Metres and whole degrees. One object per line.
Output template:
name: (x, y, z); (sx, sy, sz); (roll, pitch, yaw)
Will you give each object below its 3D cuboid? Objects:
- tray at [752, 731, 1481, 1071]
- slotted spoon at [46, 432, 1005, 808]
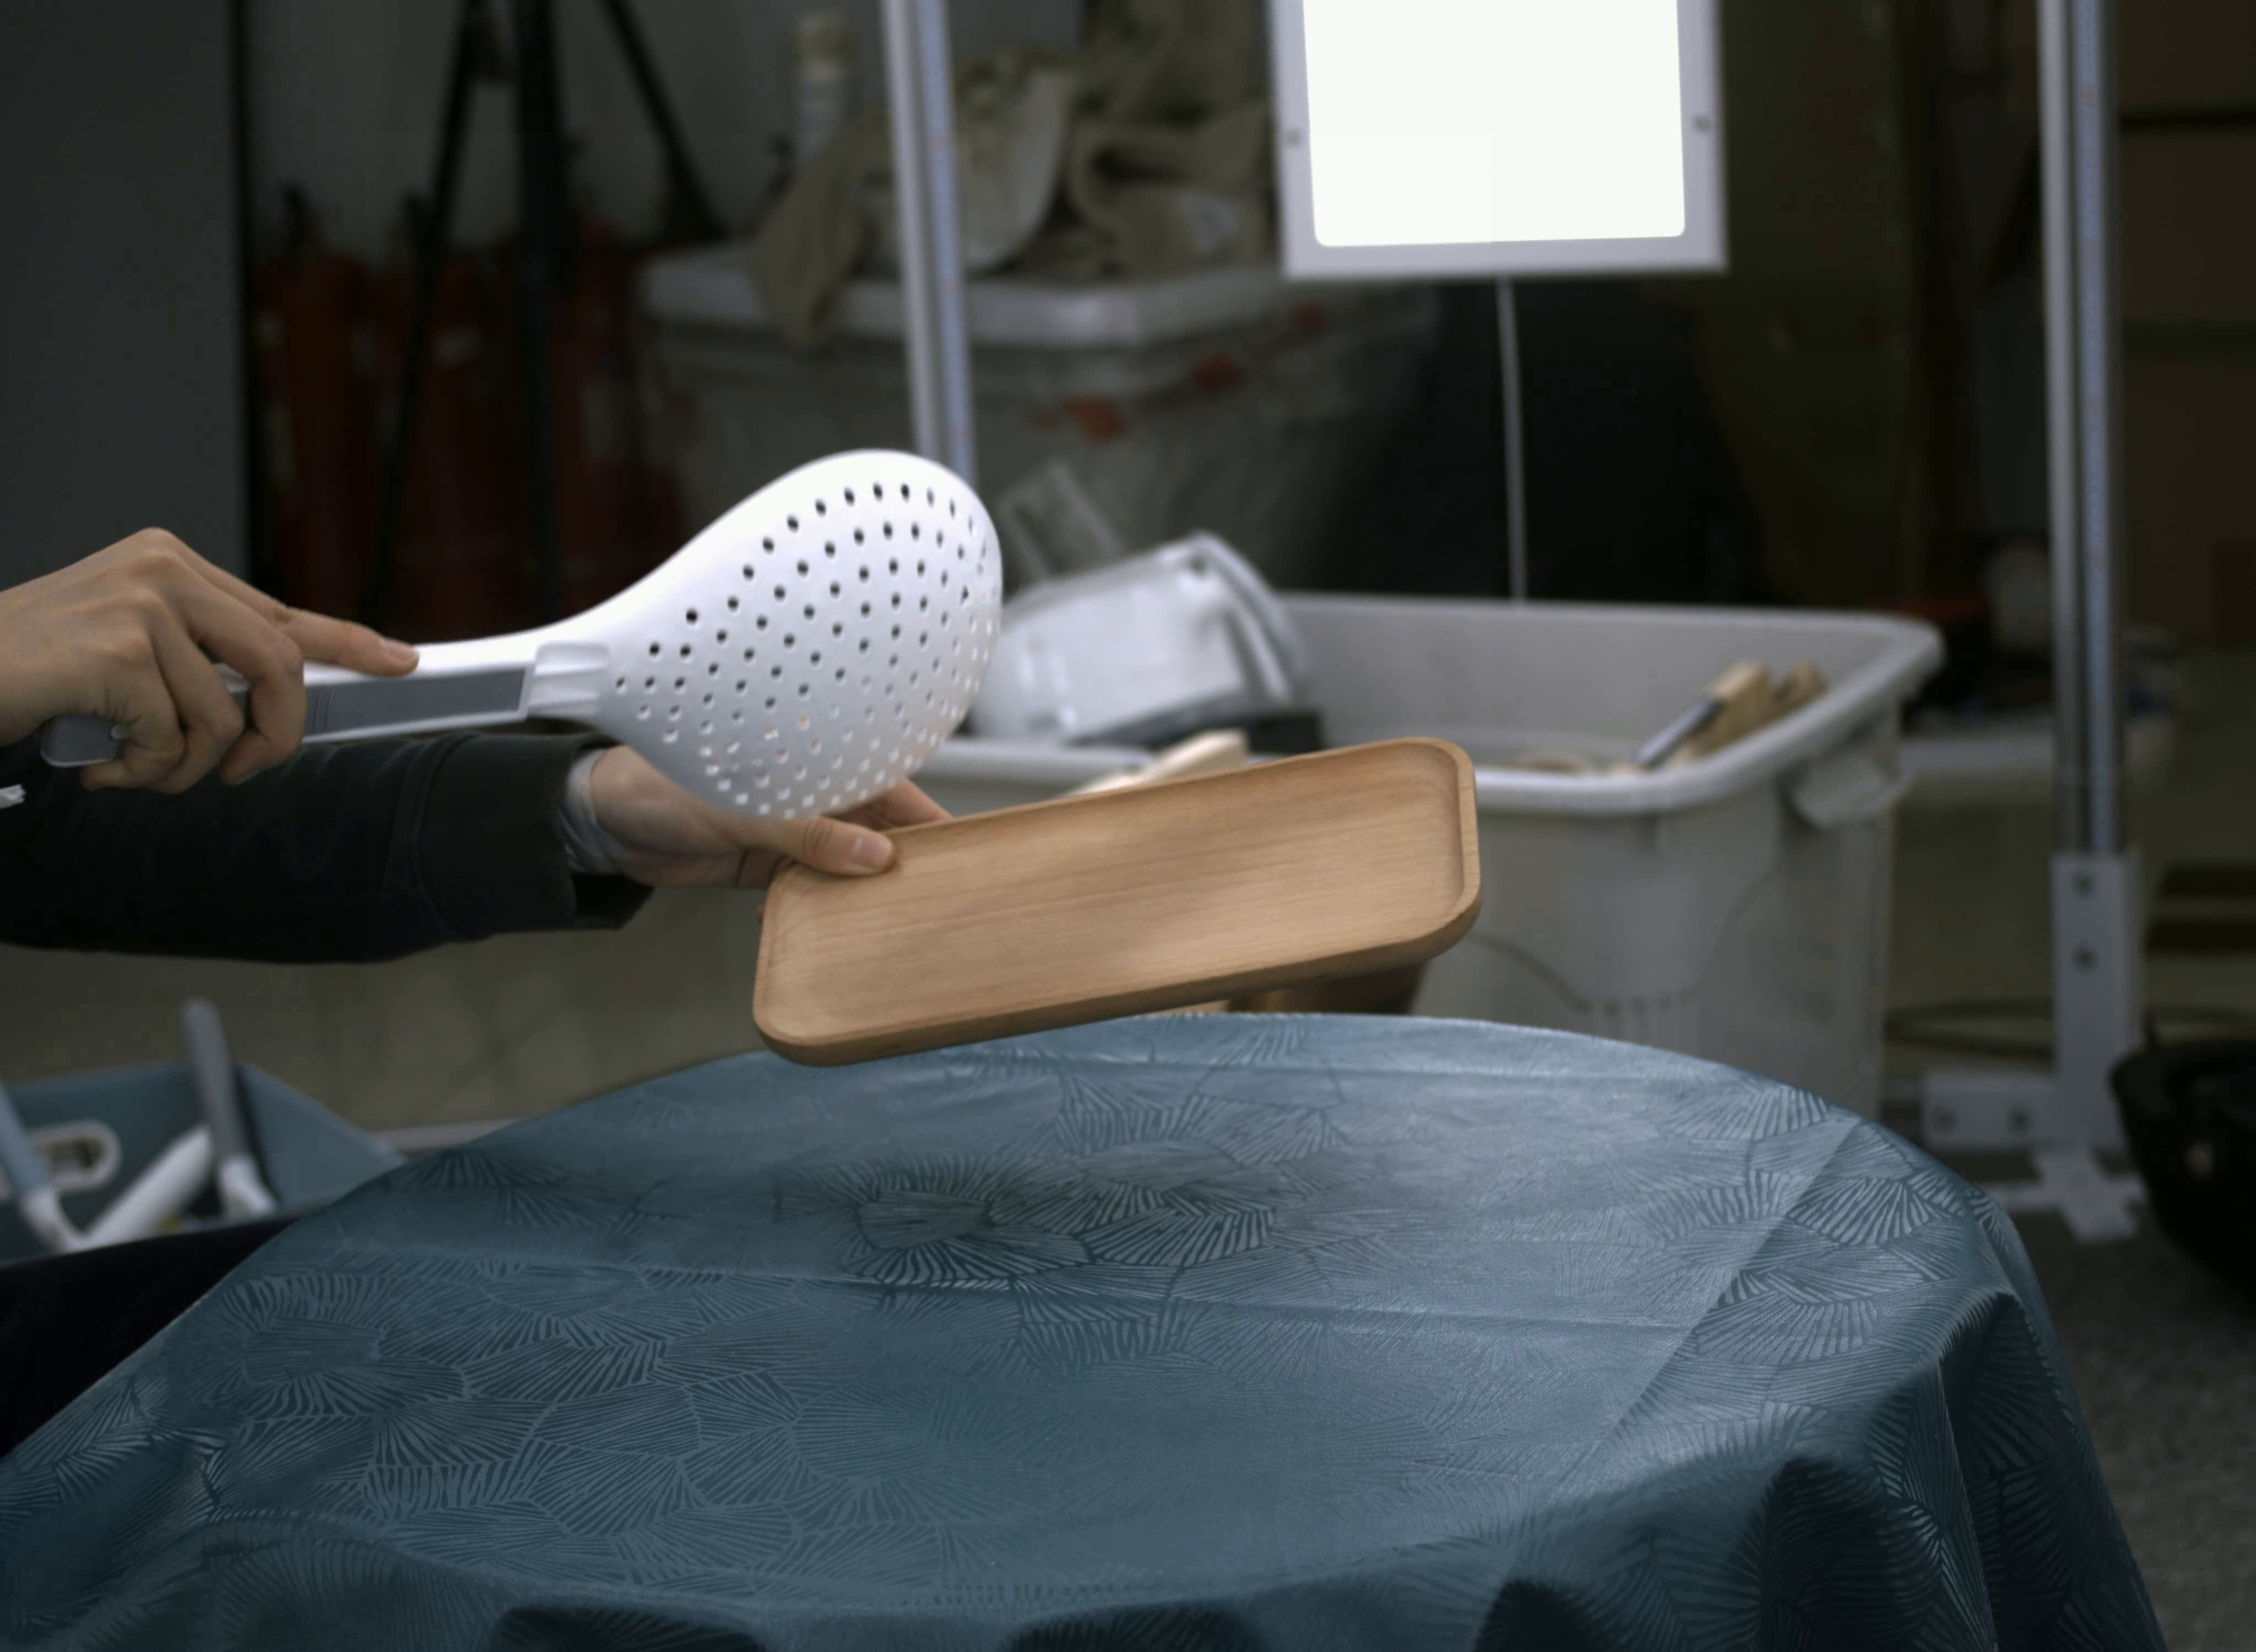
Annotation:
tray: (-0.004, 0.026, 1.866); (0.252, 0.023, 0.130); (-11, 30, 11)
slotted spoon: (-0.182, -0.053, 1.765); (0.342, 0.137, 0.046); (-5, 29, -29)
